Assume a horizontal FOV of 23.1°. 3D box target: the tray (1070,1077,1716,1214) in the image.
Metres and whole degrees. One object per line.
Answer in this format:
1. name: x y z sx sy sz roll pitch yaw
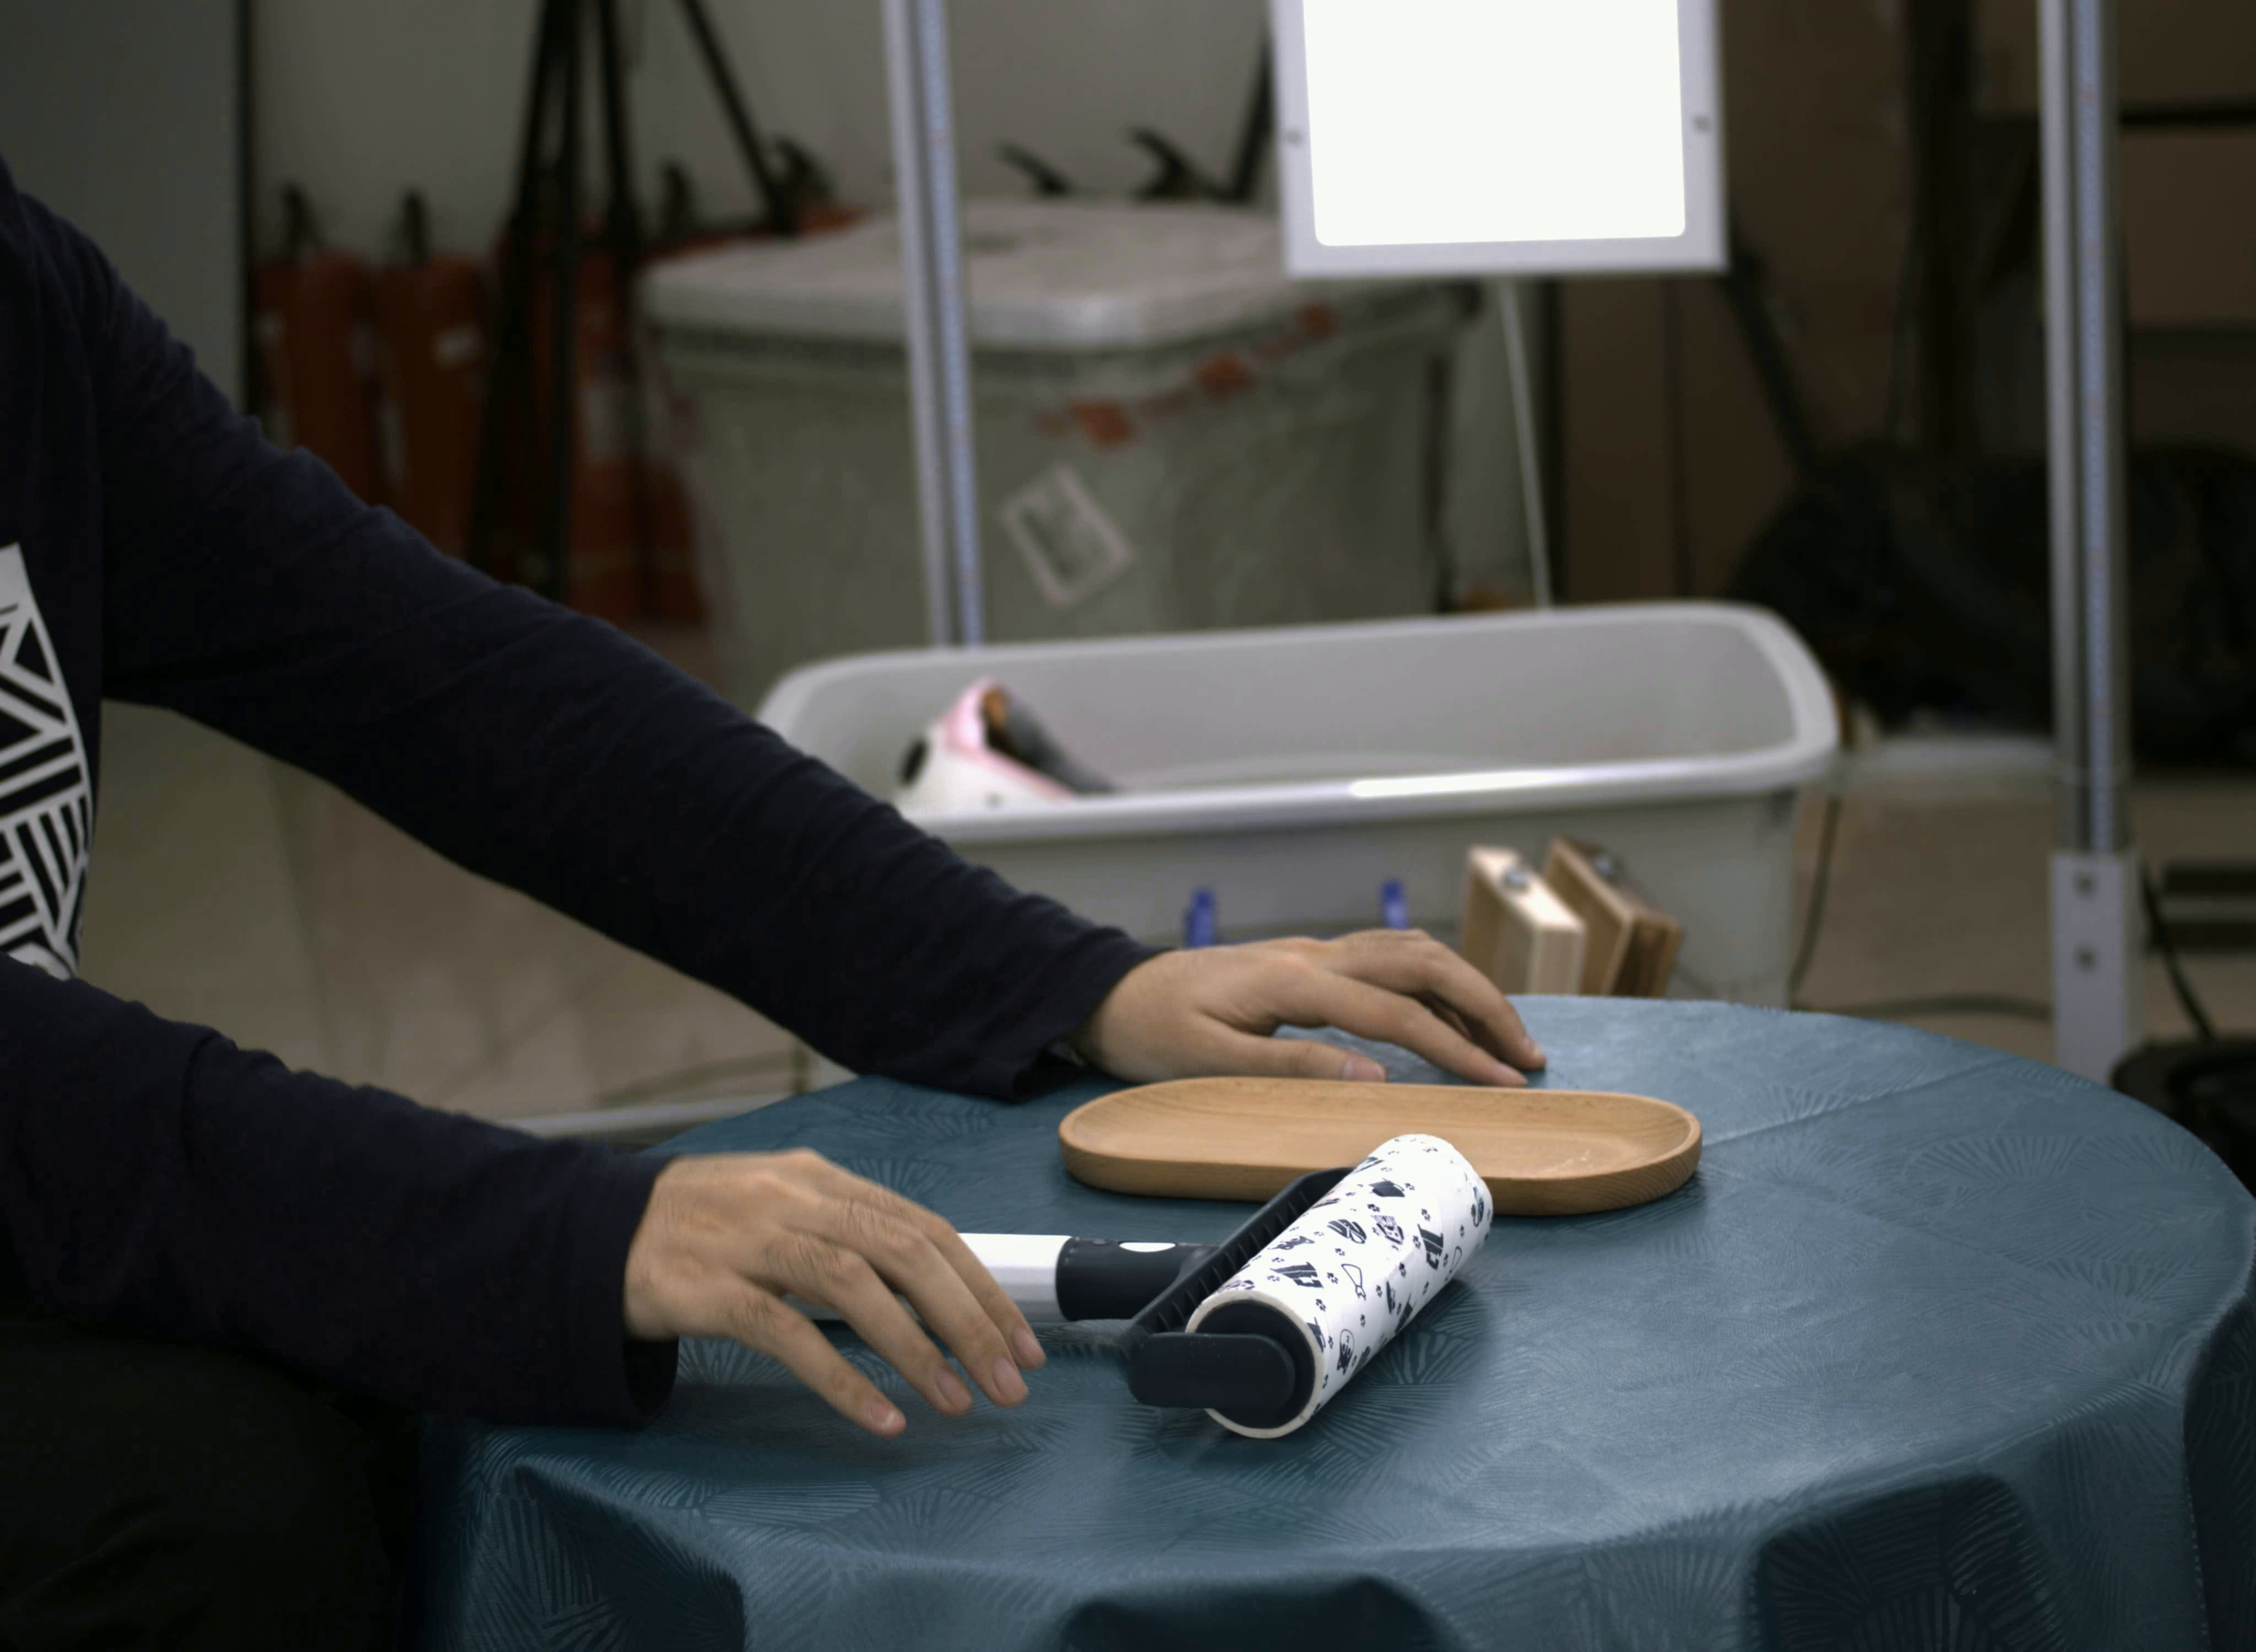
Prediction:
1. tray: 0.091 0.110 1.903 0.235 0.020 0.100 2 17 24

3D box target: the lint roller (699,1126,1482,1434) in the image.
1. lint roller: -0.027 0.144 1.757 0.251 0.050 0.173 -2 14 24
